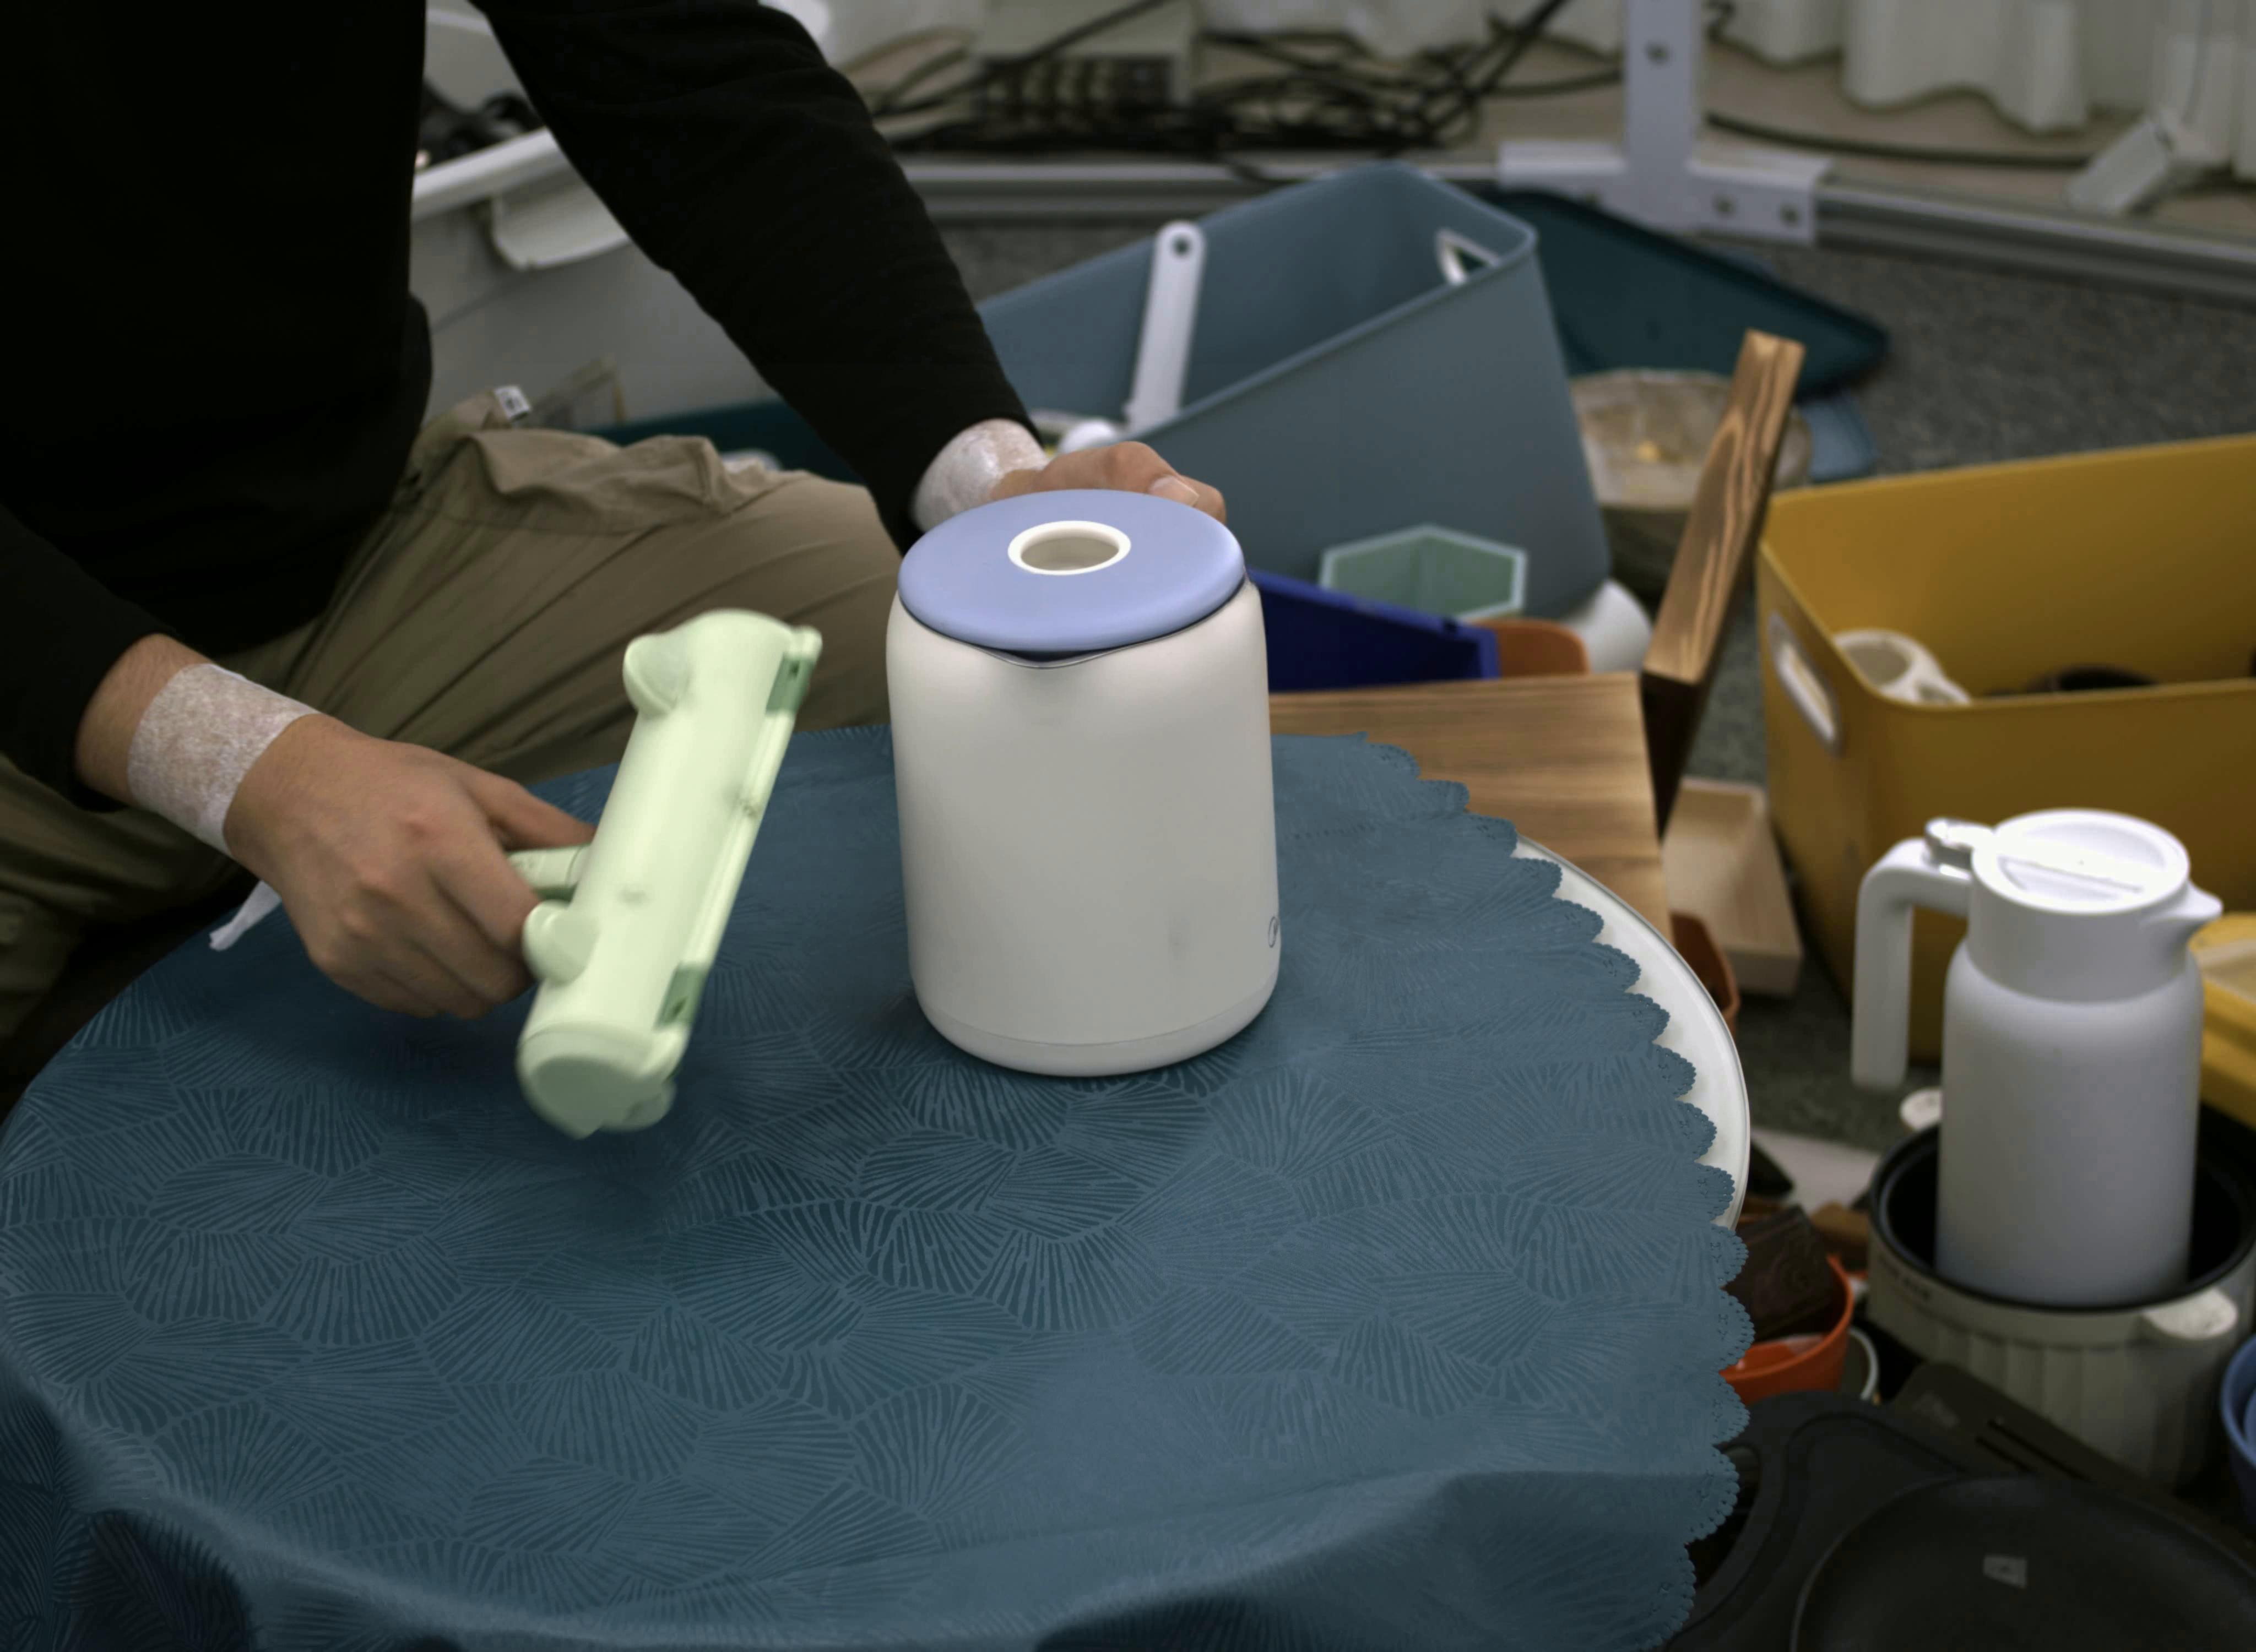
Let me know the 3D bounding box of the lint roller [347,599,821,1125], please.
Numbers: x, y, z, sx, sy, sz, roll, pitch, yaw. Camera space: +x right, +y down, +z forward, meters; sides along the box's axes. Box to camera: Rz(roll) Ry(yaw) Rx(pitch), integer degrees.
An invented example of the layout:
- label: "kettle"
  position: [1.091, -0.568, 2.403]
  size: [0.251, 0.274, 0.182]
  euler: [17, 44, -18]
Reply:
- label: "lint roller"
  position: [-0.204, 0.012, 1.920]
  size: [0.181, 0.081, 0.203]
  euler: [-7, 46, 25]

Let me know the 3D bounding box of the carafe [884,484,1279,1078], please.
- label: "carafe"
  position: [-0.013, -0.027, 1.965]
  size: [0.131, 0.181, 0.194]
  euler: [1, 25, 7]
